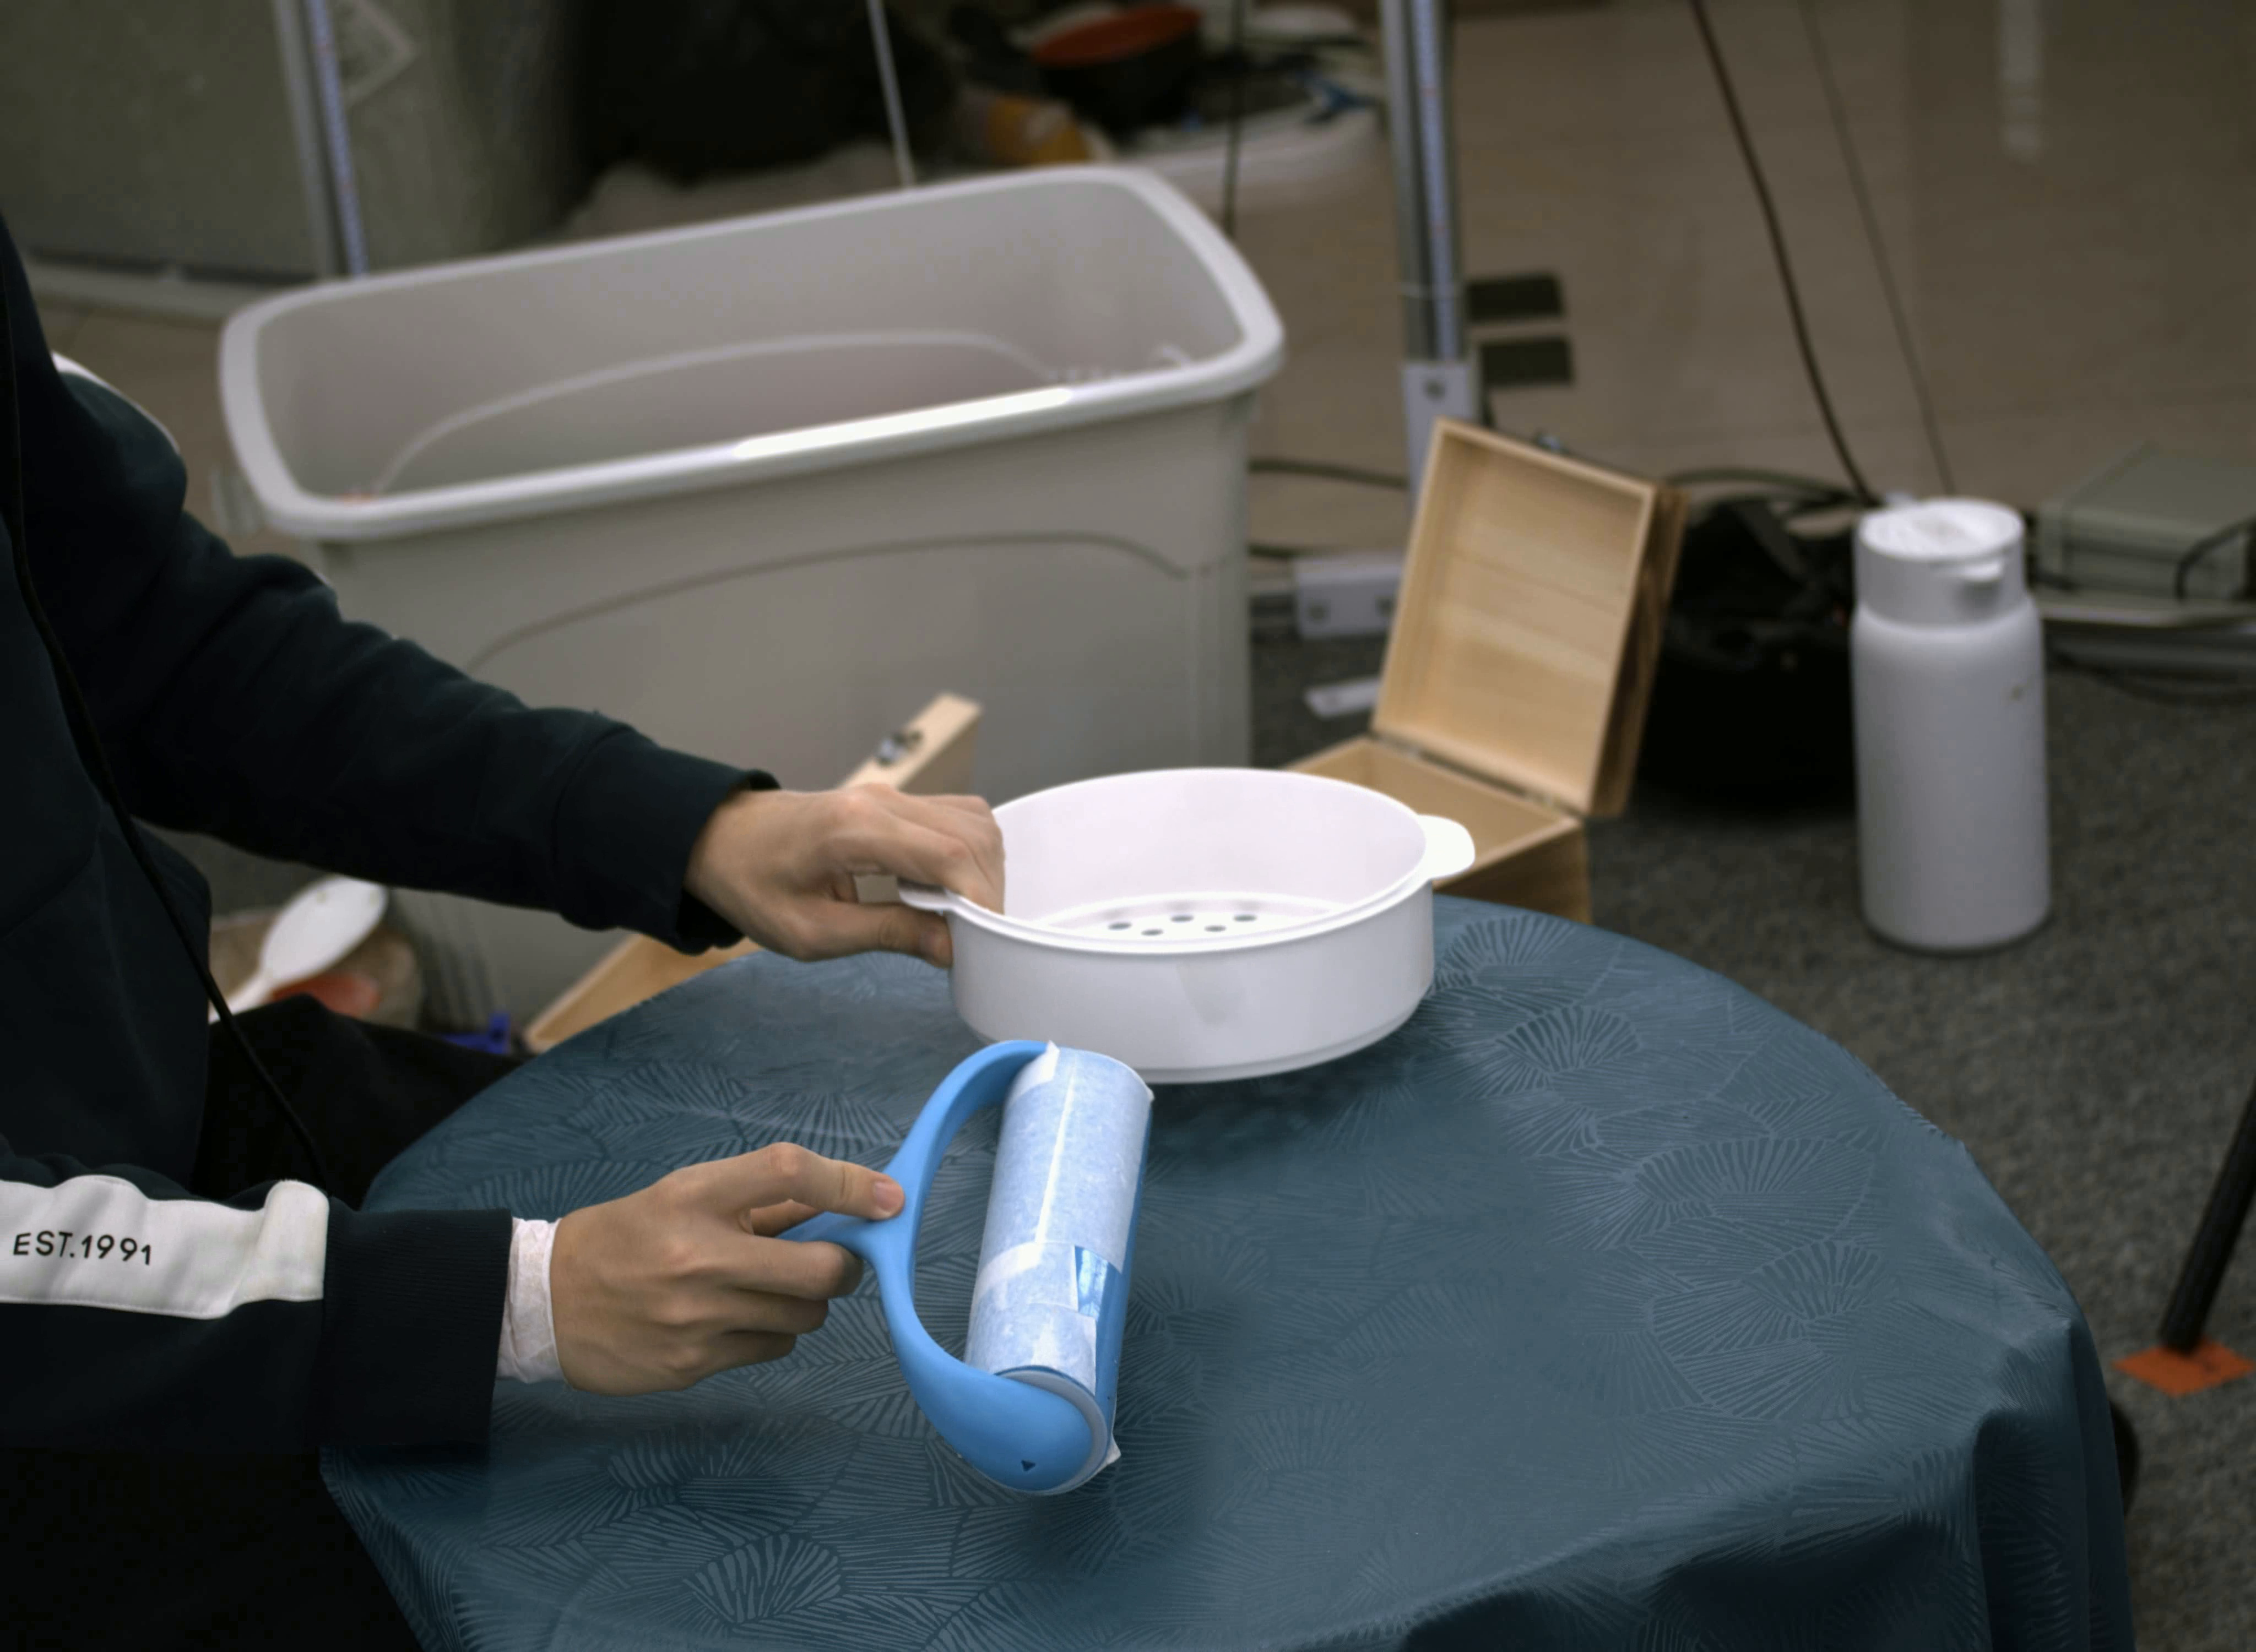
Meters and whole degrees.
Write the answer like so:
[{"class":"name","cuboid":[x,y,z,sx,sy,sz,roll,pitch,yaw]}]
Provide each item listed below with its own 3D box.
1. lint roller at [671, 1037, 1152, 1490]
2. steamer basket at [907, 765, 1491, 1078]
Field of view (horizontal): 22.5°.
[{"class":"lint roller","cuboid":[-0.080,0.161,1.988,0.180,0.069,0.225,-10,33,6]},{"class":"steamer basket","cuboid":[0.030,0.038,2.239,0.230,0.070,0.199,-4,19,0]}]
